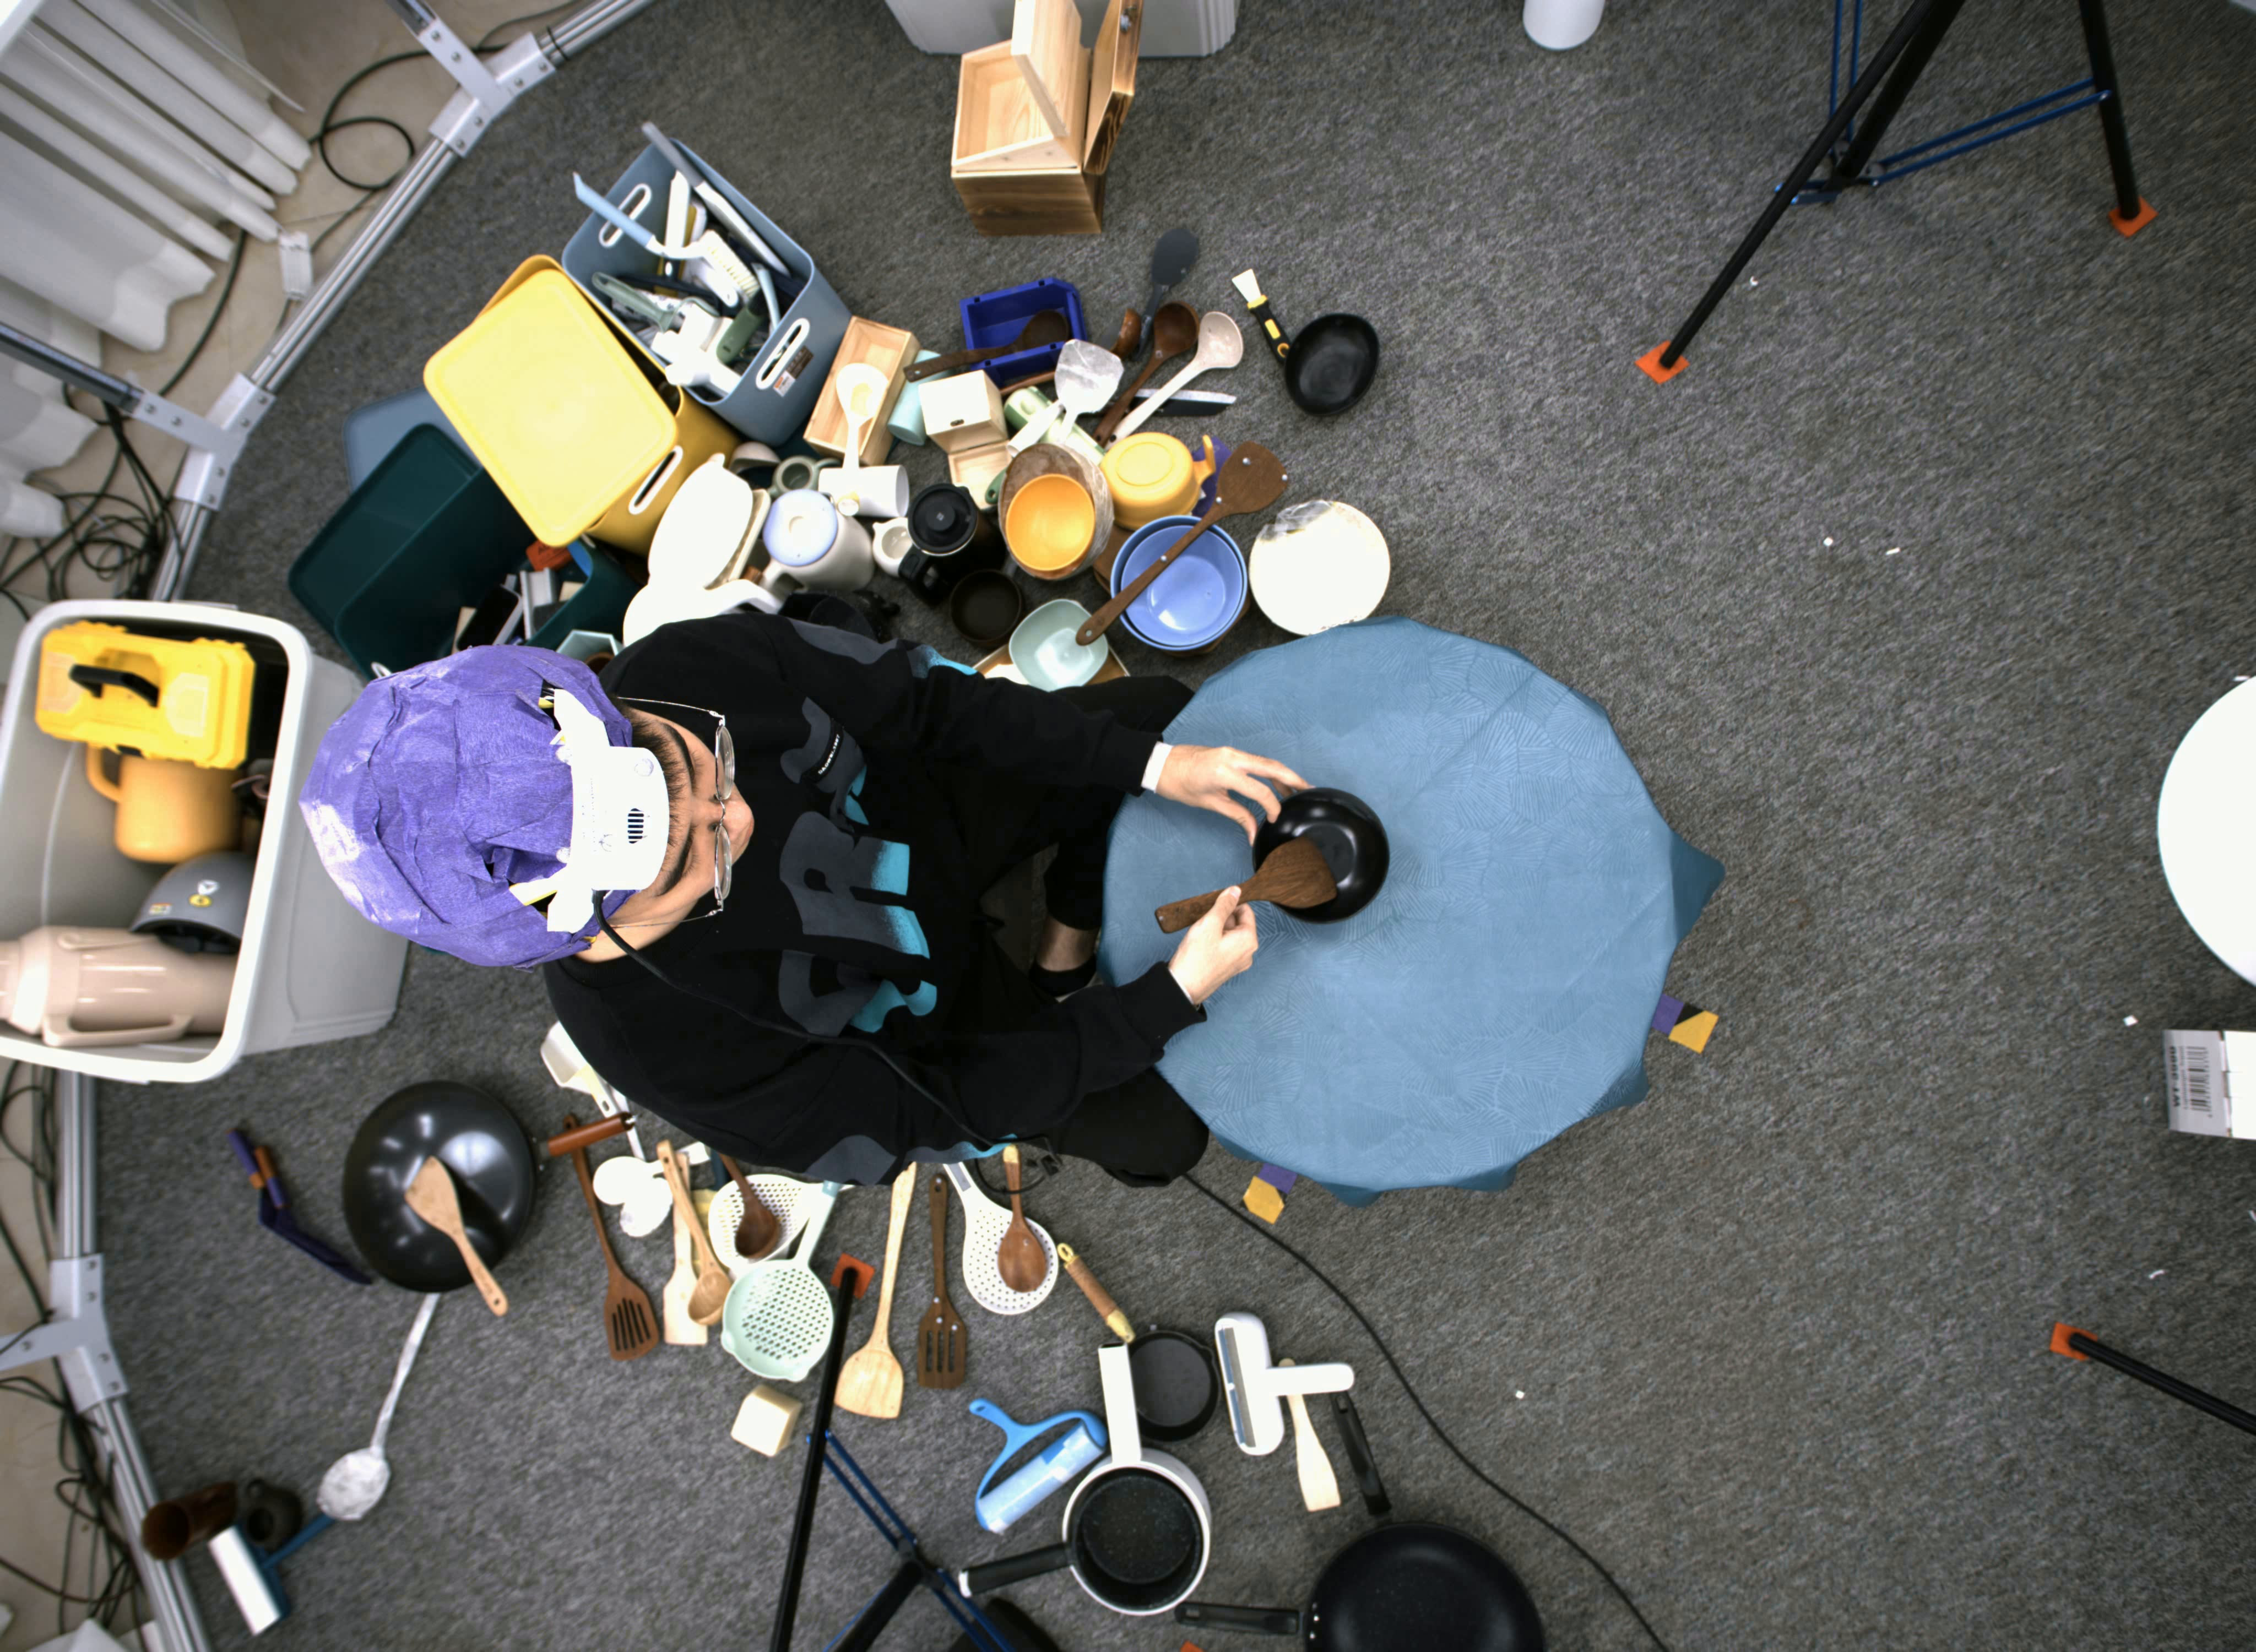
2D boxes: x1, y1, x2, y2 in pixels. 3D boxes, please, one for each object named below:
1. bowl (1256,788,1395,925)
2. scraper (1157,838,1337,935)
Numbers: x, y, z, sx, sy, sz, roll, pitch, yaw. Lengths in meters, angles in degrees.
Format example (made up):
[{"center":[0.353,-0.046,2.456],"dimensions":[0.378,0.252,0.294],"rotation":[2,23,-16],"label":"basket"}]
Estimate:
[{"center":[0.203,0.029,1.419],"dimensions":[0.140,0.049,0.140],"rotation":[1,95,10],"label":"bowl"},{"center":[0.118,0.069,1.387],"dimensions":[0.209,0.011,0.075],"rotation":[-16,77,-30],"label":"scraper"}]
